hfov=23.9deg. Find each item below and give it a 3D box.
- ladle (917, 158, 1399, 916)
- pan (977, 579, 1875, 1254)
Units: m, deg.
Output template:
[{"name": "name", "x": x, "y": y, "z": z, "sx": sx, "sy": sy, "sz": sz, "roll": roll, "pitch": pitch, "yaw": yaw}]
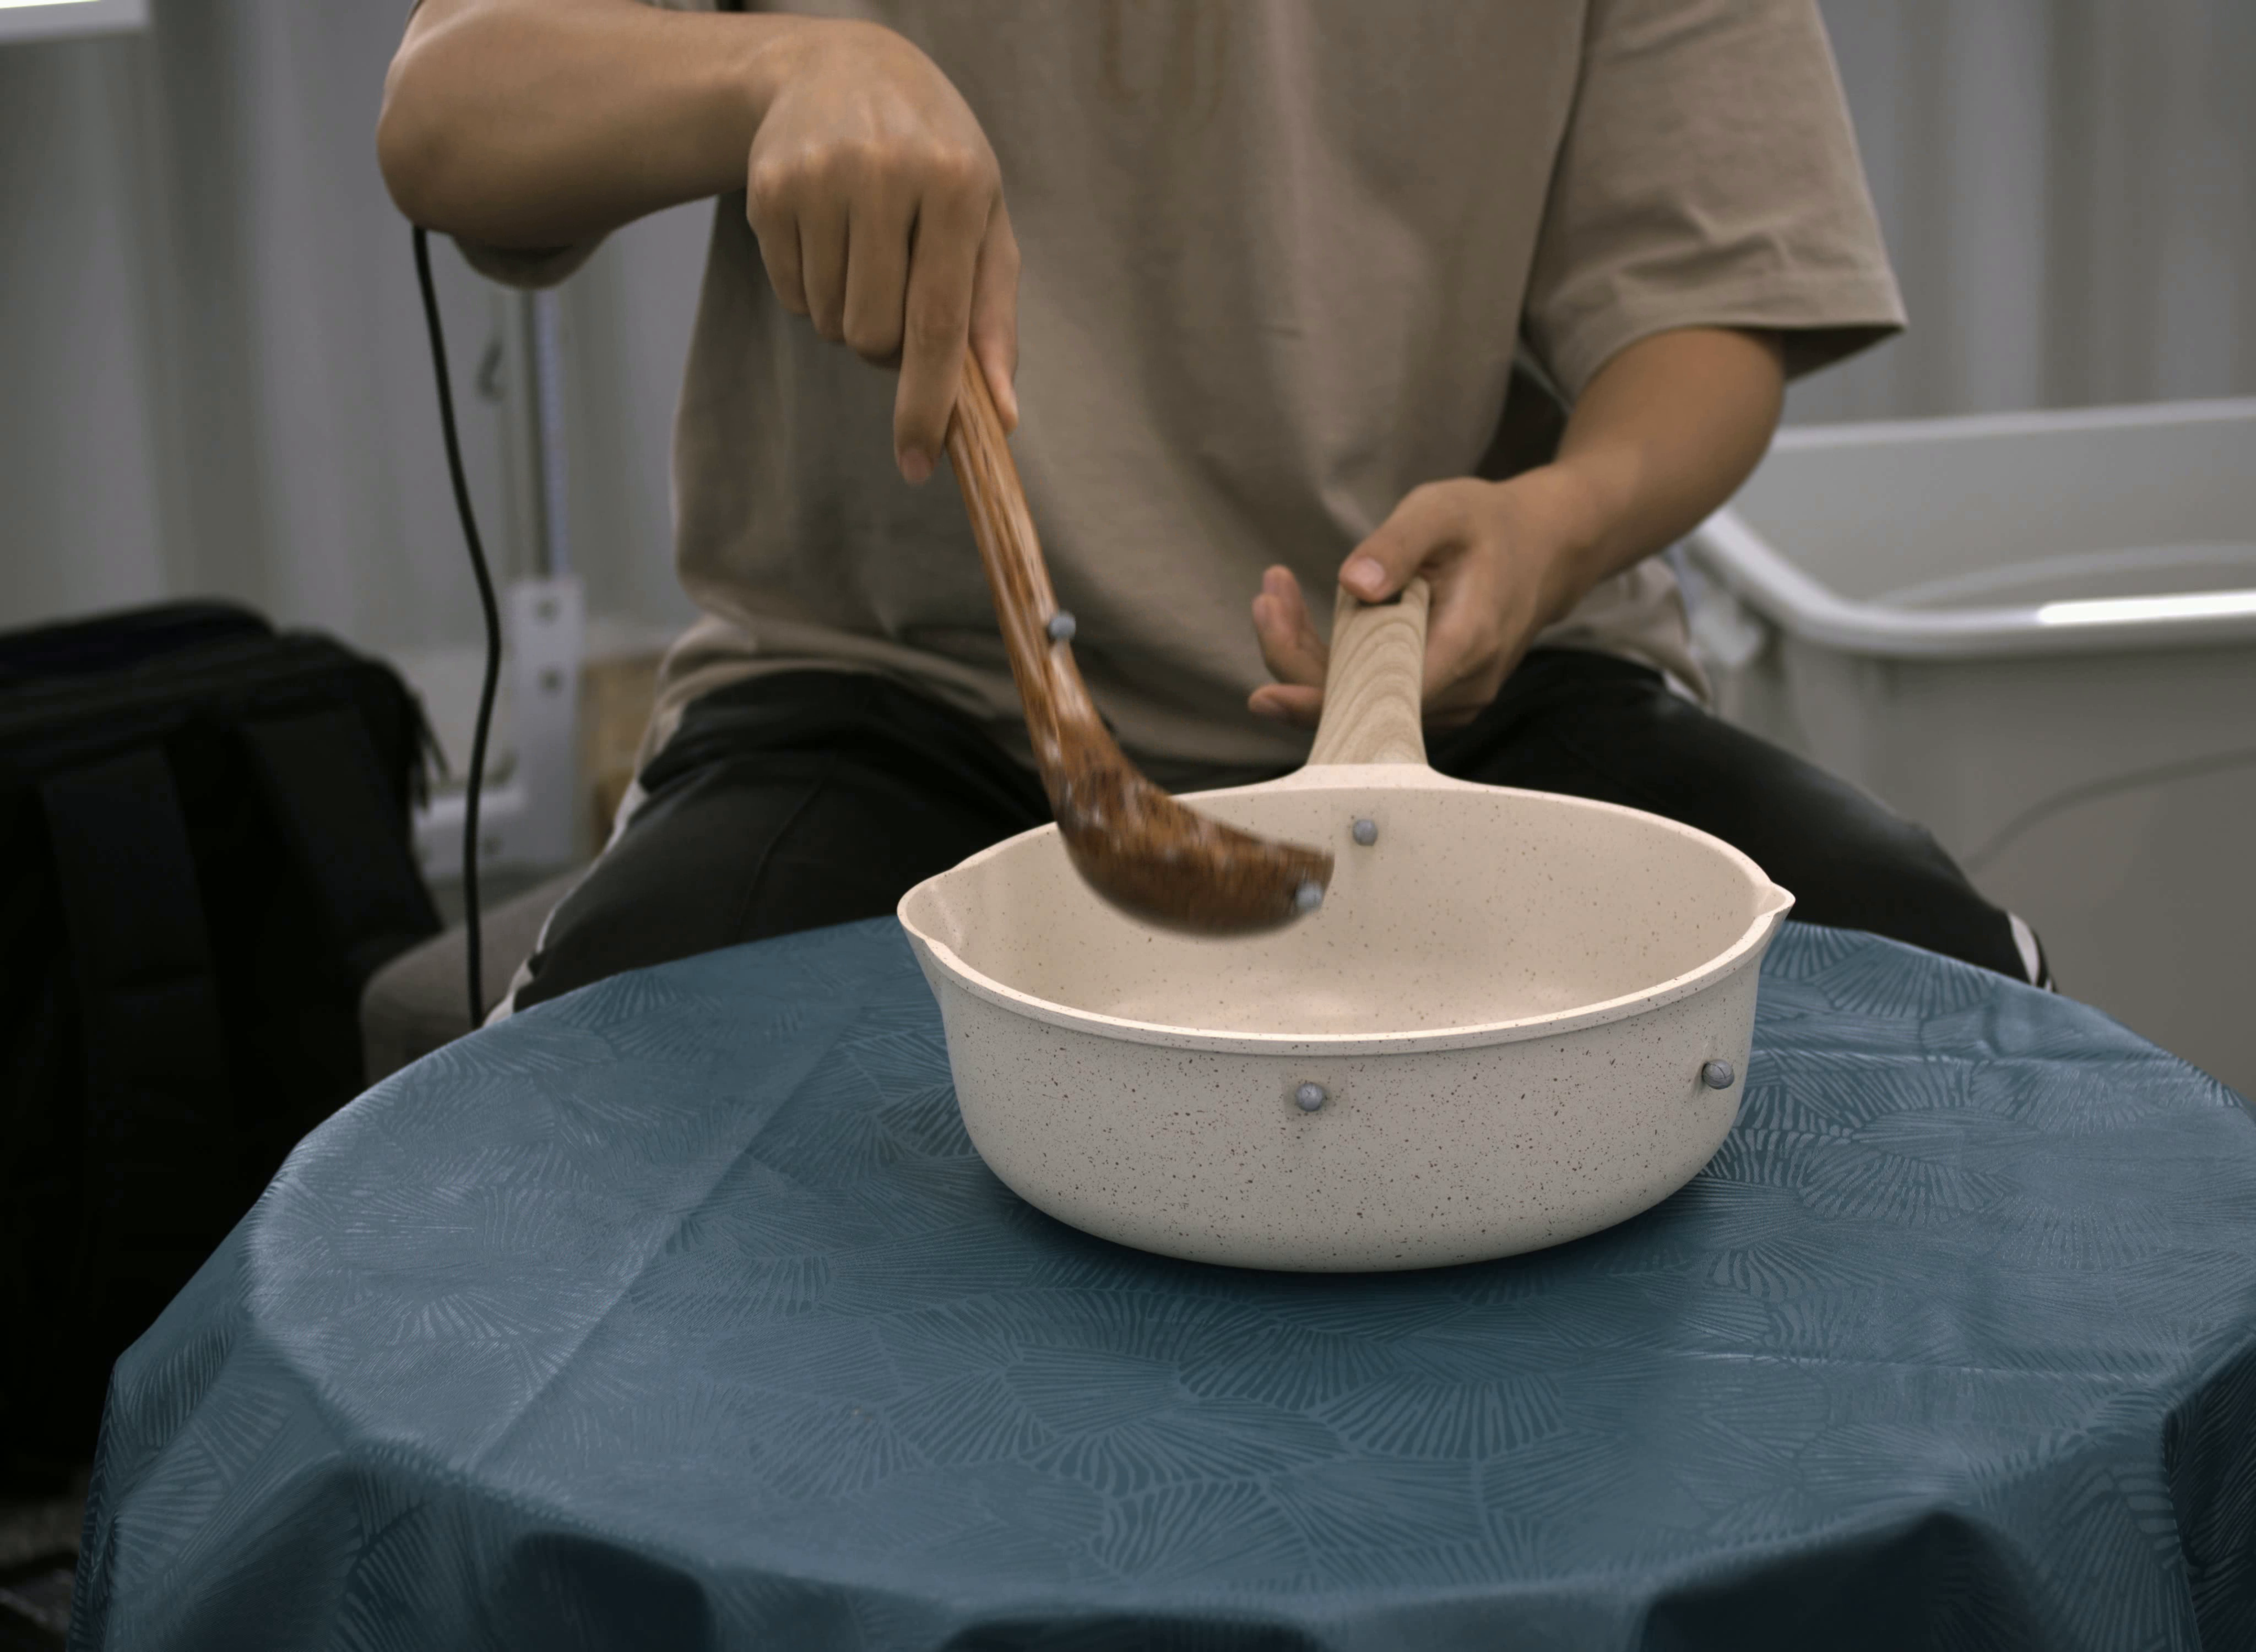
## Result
[{"name": "ladle", "x": 0.006, "y": -0.094, "z": 1.575, "sx": 0.077, "sy": 0.278, "sz": 0.080, "roll": -30, "pitch": -23, "yaw": 28}, {"name": "pan", "x": 0.095, "y": 0.024, "z": 1.646, "sx": 0.263, "sy": 0.102, "sz": 0.435, "roll": -2, "pitch": 16, "yaw": 6}]
